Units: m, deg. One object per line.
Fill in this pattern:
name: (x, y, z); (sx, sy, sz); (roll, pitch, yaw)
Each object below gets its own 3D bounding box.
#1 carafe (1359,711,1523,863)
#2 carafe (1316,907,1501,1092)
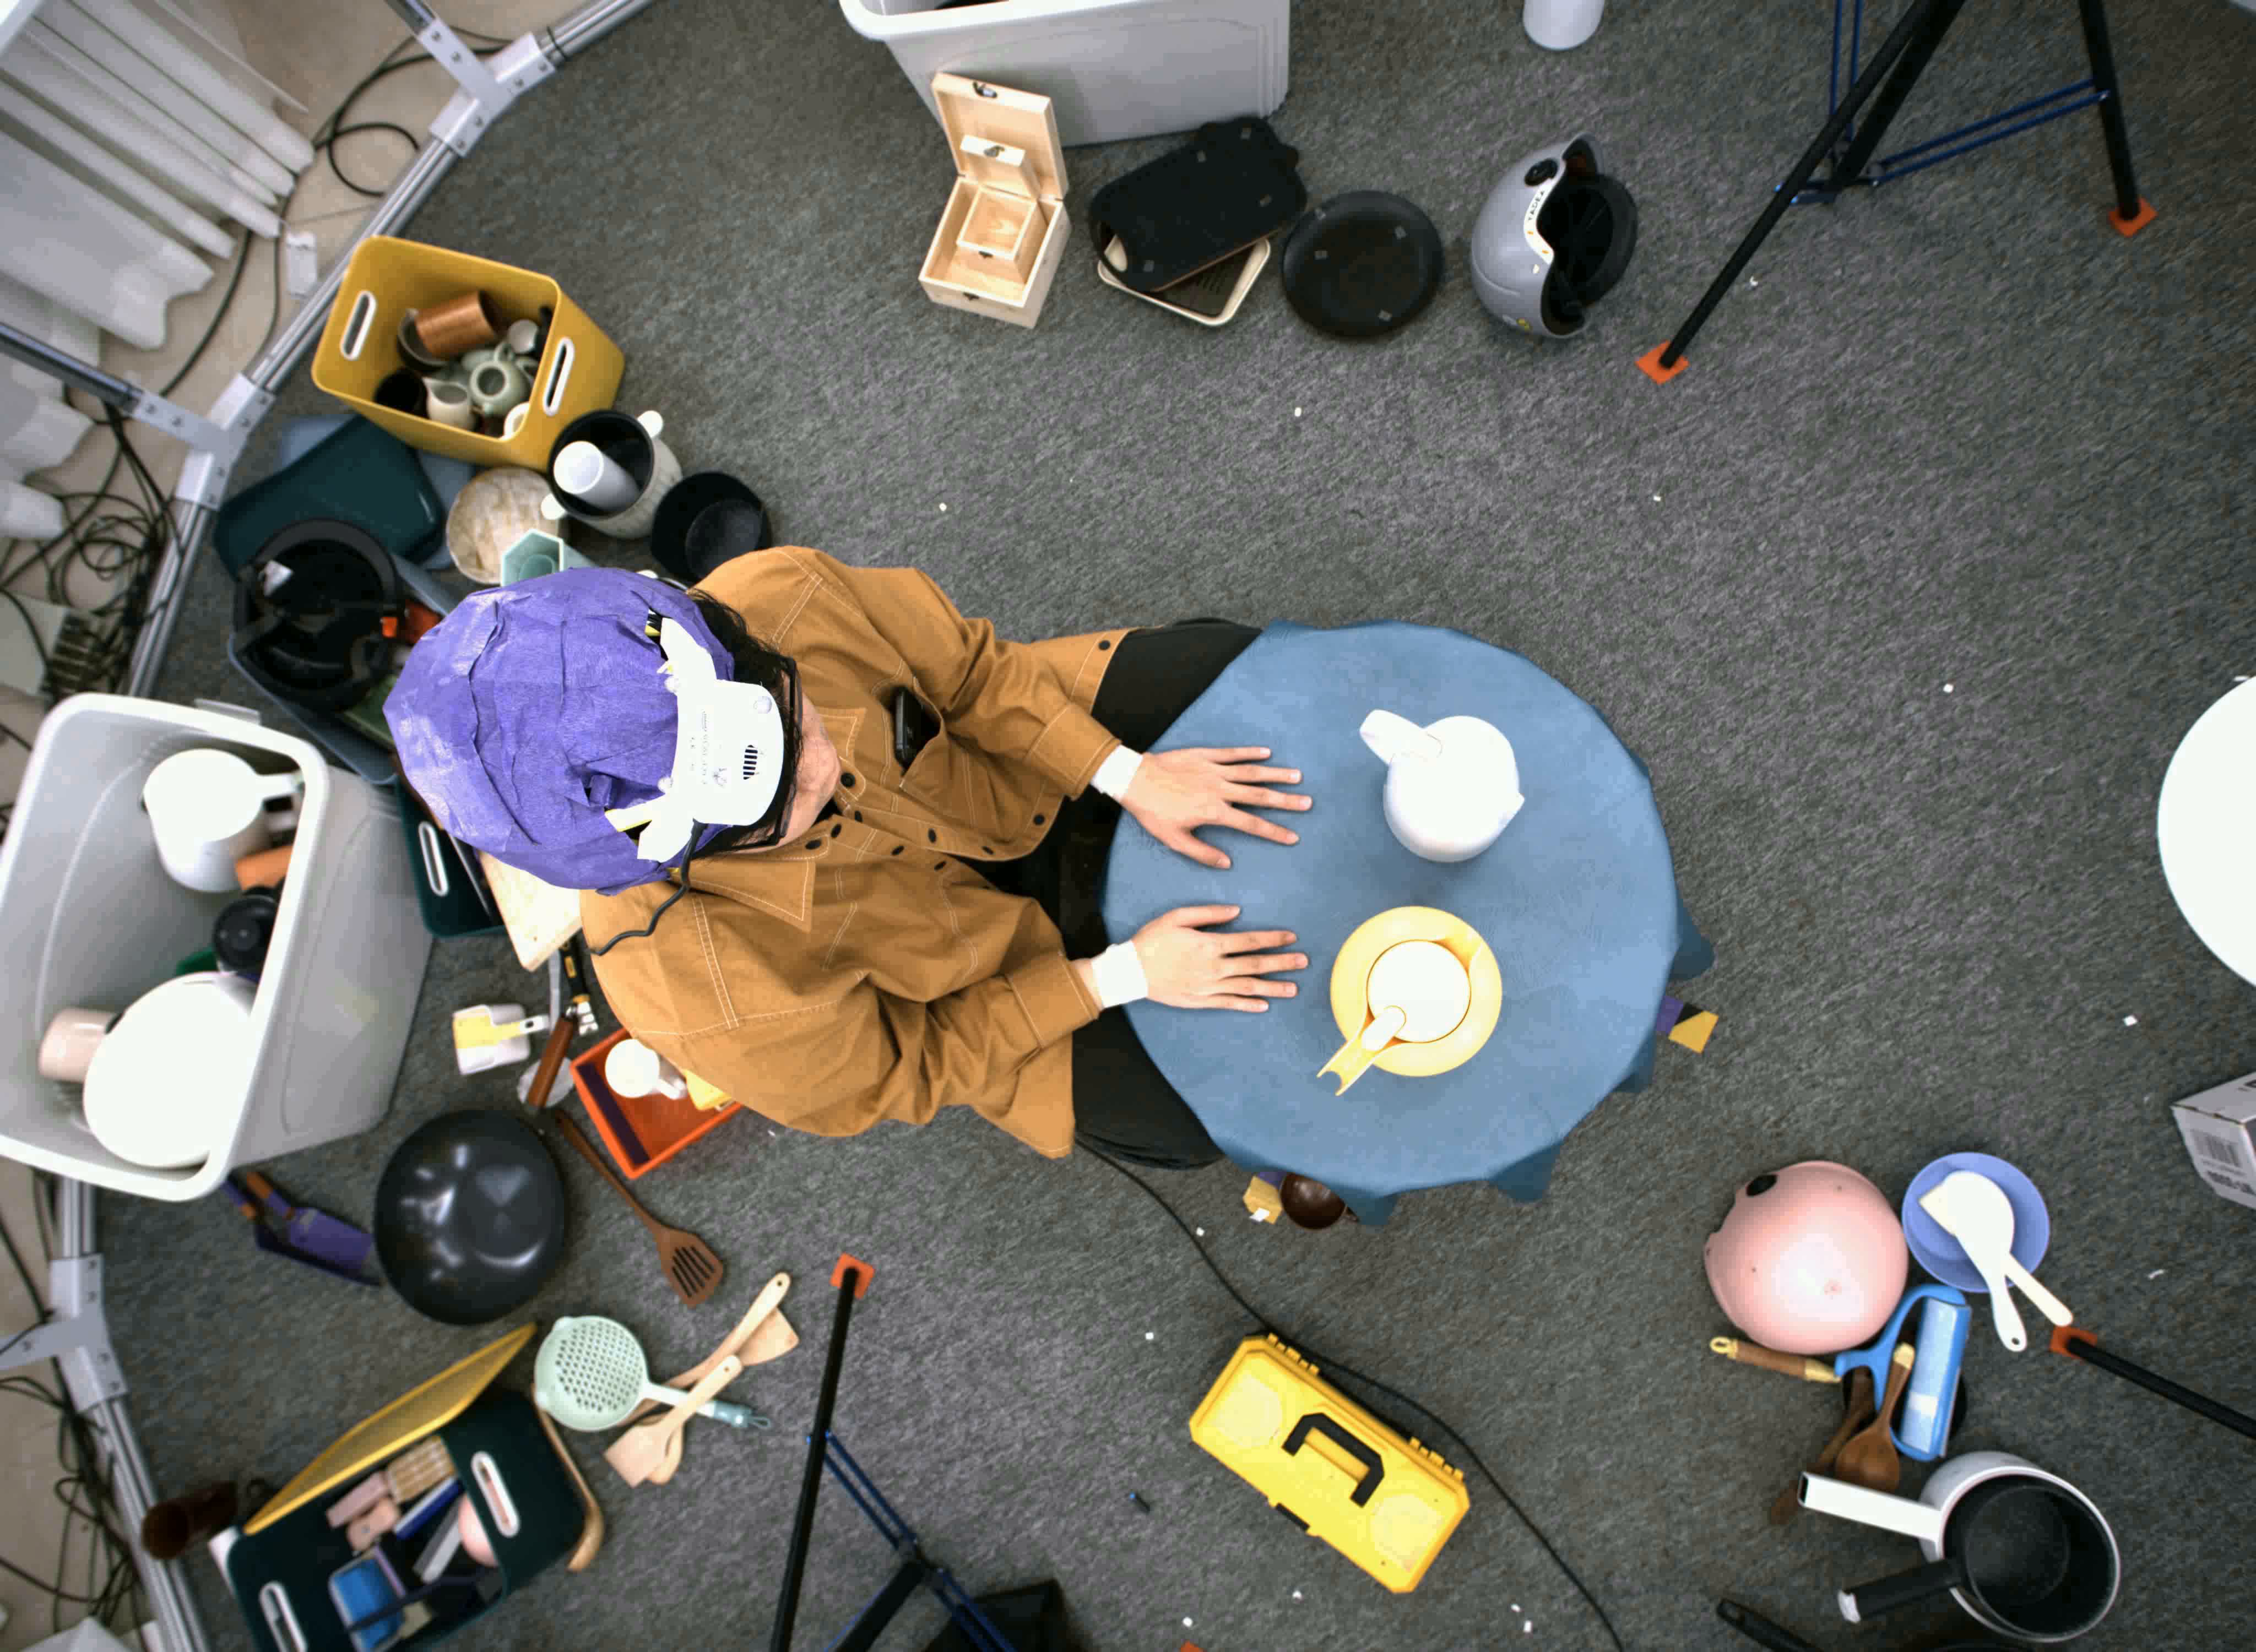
carafe: (0.299, -0.051, 1.336); (0.167, 0.249, 0.133); (34, 92, 12)
carafe: (0.260, 0.169, 1.327); (0.203, 0.261, 0.162); (-45, 77, 3)
